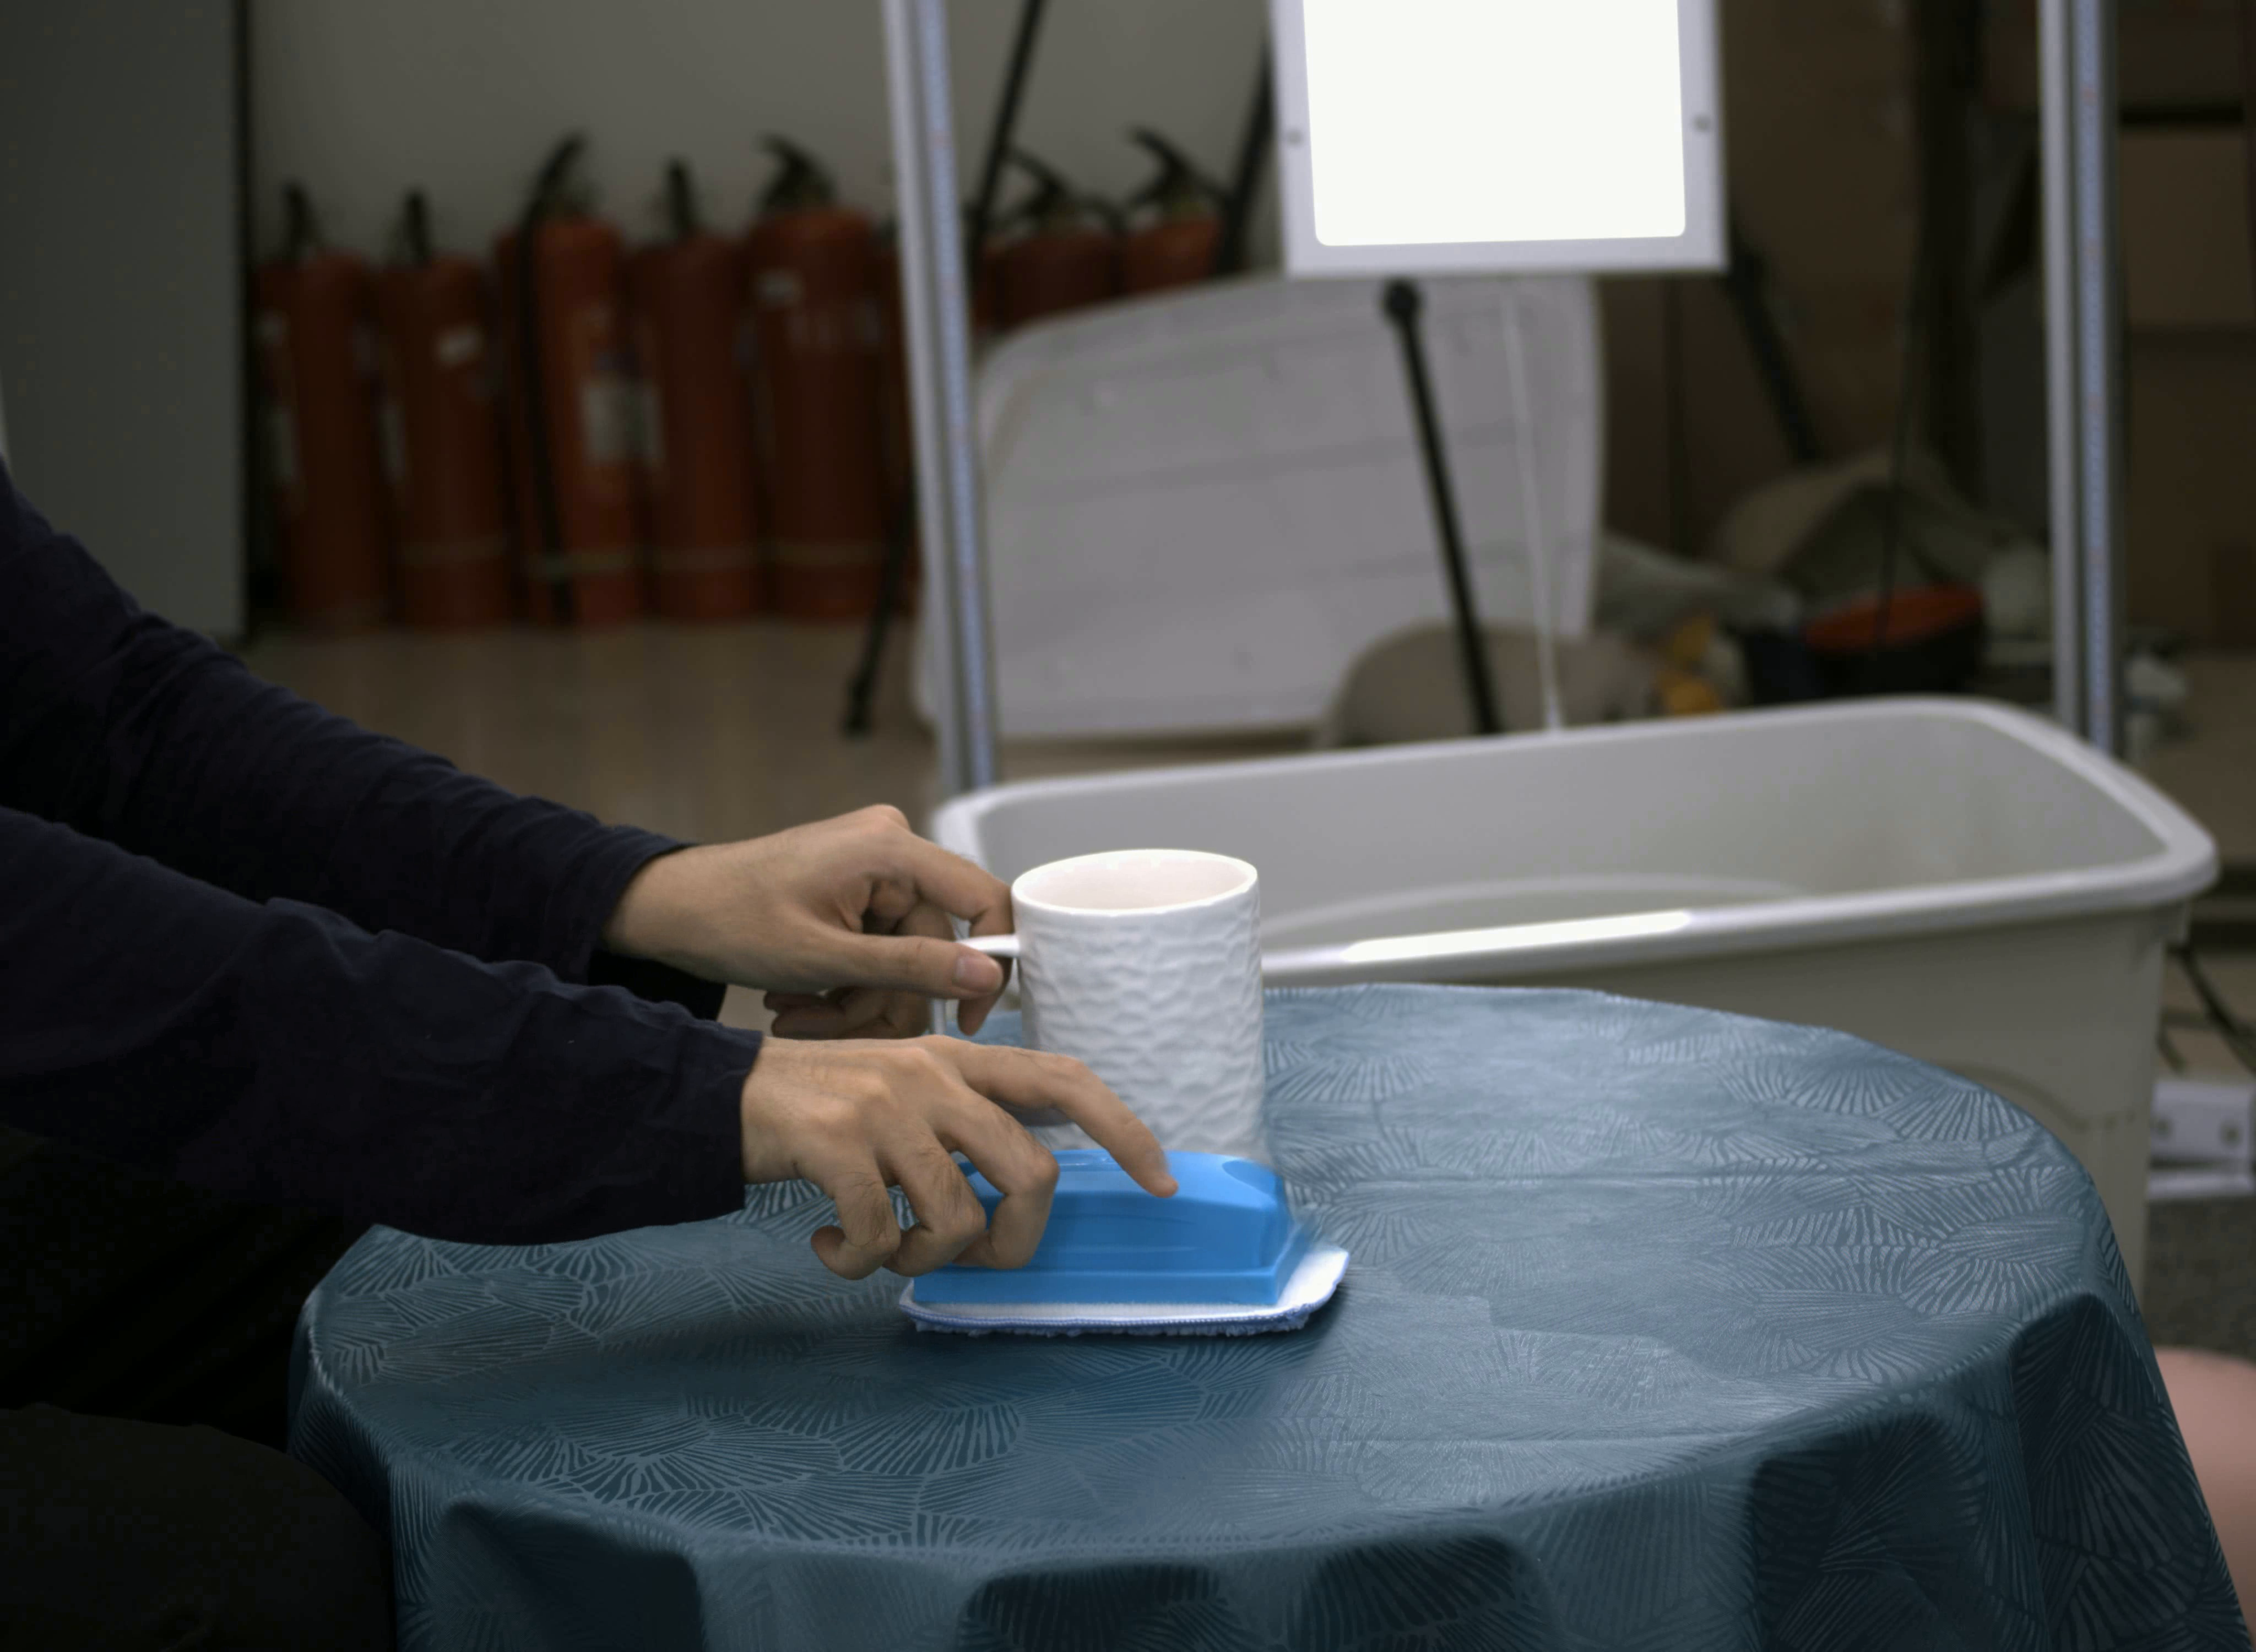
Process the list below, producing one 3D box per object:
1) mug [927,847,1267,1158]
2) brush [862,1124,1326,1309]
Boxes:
[{"bbox_3d":[-0.010,0.069,1.918,0.117,0.102,0.085,-5,16,-6],"label":"mug"},{"bbox_3d":[-0.010,0.126,1.776,0.145,0.056,0.082,2,12,17],"label":"brush"}]
